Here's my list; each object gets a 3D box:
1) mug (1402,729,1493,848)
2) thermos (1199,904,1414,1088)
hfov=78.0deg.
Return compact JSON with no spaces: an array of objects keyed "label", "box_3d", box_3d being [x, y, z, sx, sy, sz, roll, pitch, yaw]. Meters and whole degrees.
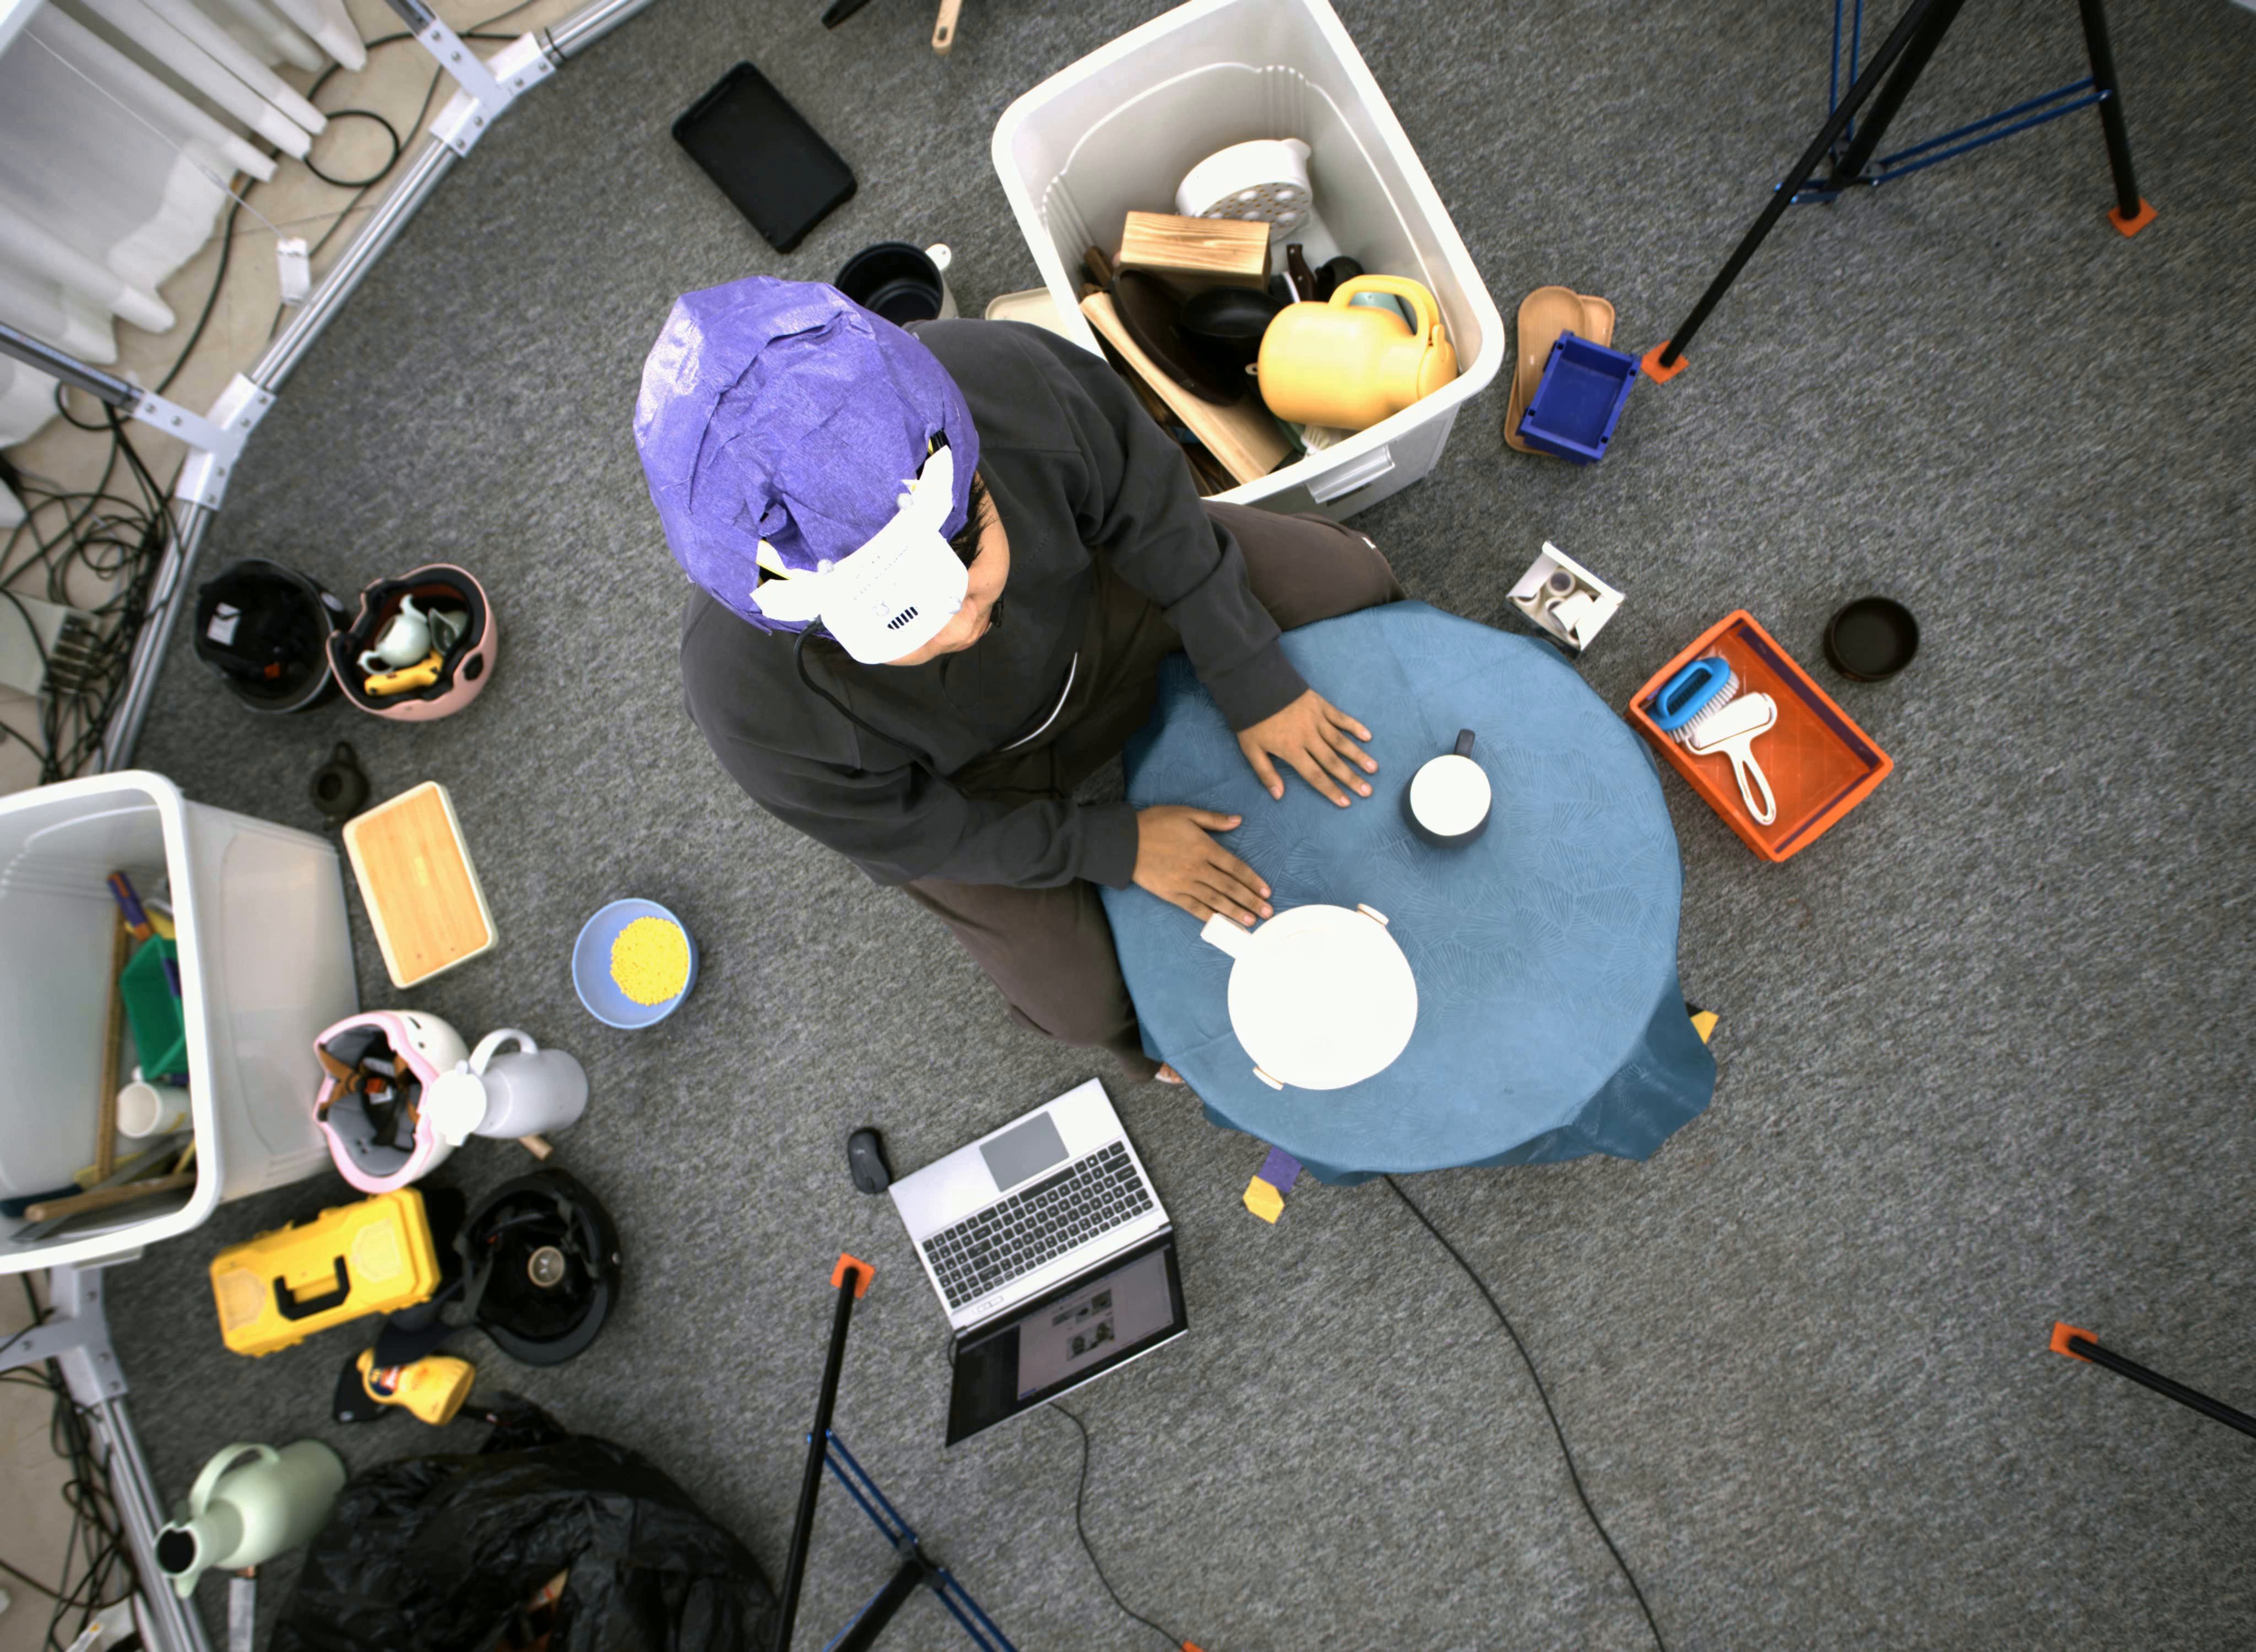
[{"label":"mug","box_3d":[0.333,-0.043,1.410,0.093,0.090,0.123,19,89,12]},{"label":"thermos","box_3d":[0.166,0.147,1.275,0.206,0.407,0.175,32,91,11]}]
